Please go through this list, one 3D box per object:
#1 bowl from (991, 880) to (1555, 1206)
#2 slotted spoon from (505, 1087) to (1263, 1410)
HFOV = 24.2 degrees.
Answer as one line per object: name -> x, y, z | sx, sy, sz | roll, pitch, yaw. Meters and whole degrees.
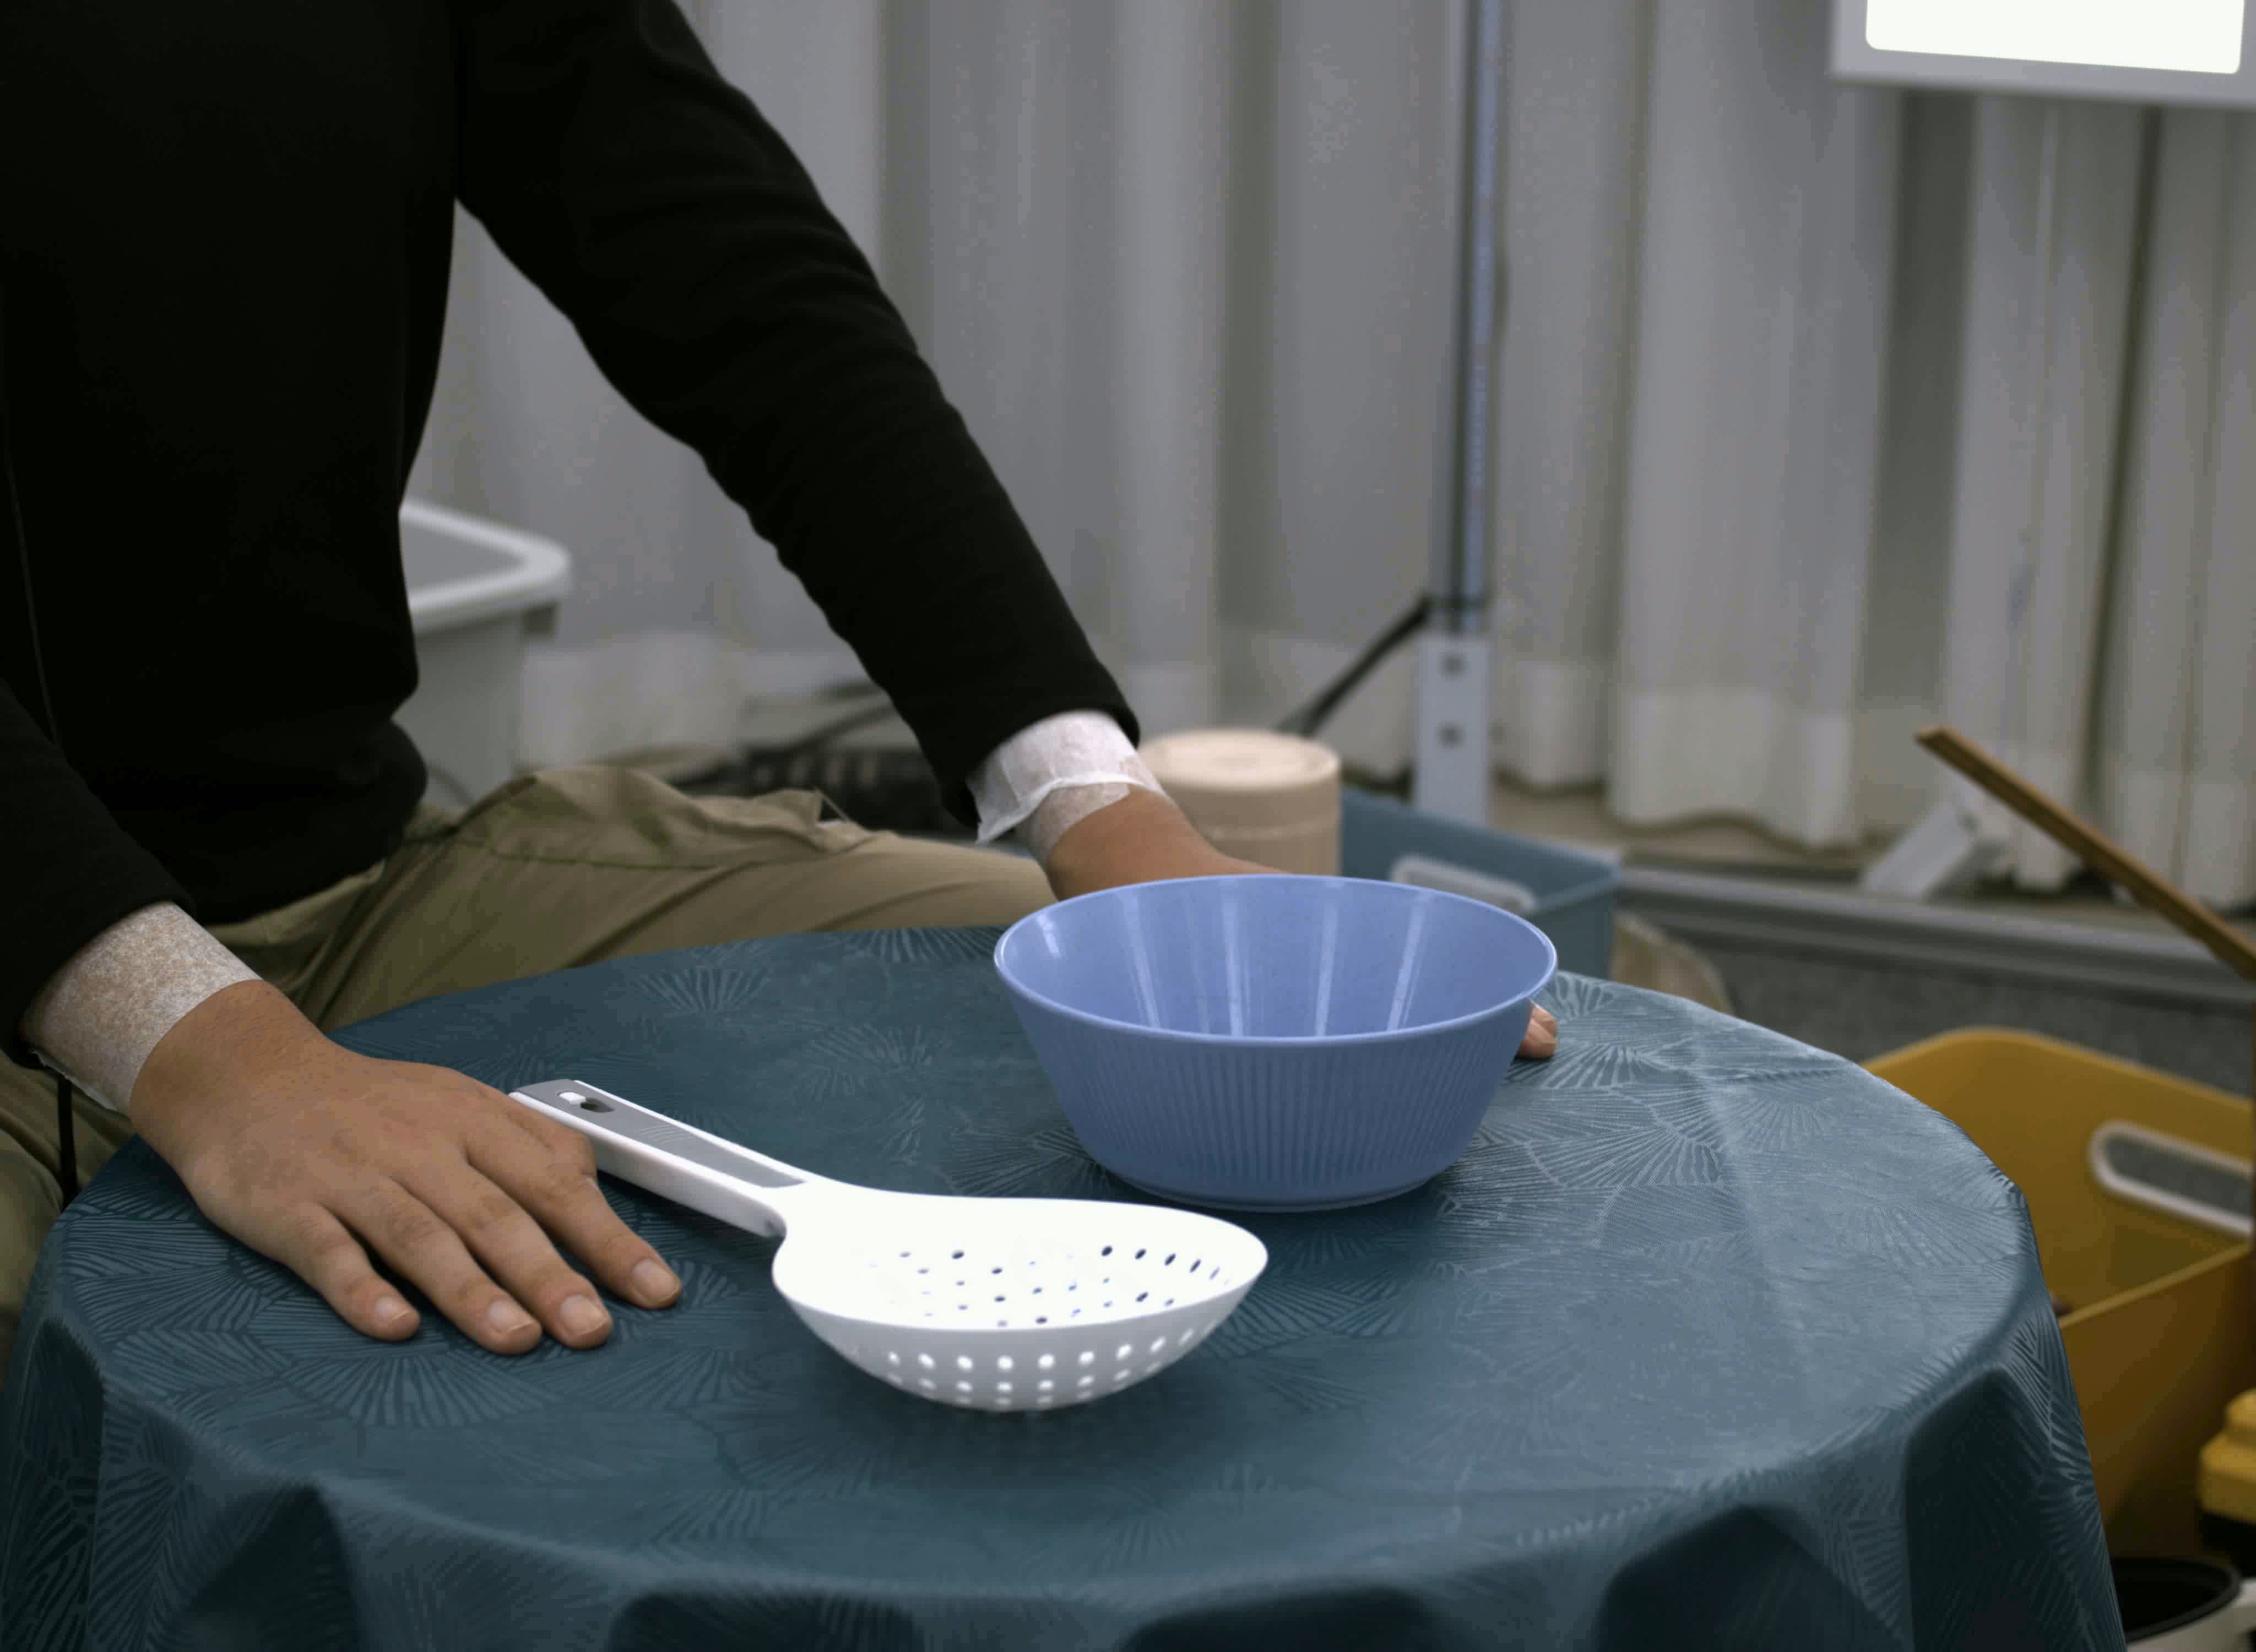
bowl -> 0.045, 0.070, 1.645 | 0.175, 0.071, 0.175 | 0, 15, 1
slotted spoon -> -0.091, 0.113, 1.531 | 0.137, 0.046, 0.345 | -10, 17, -34
